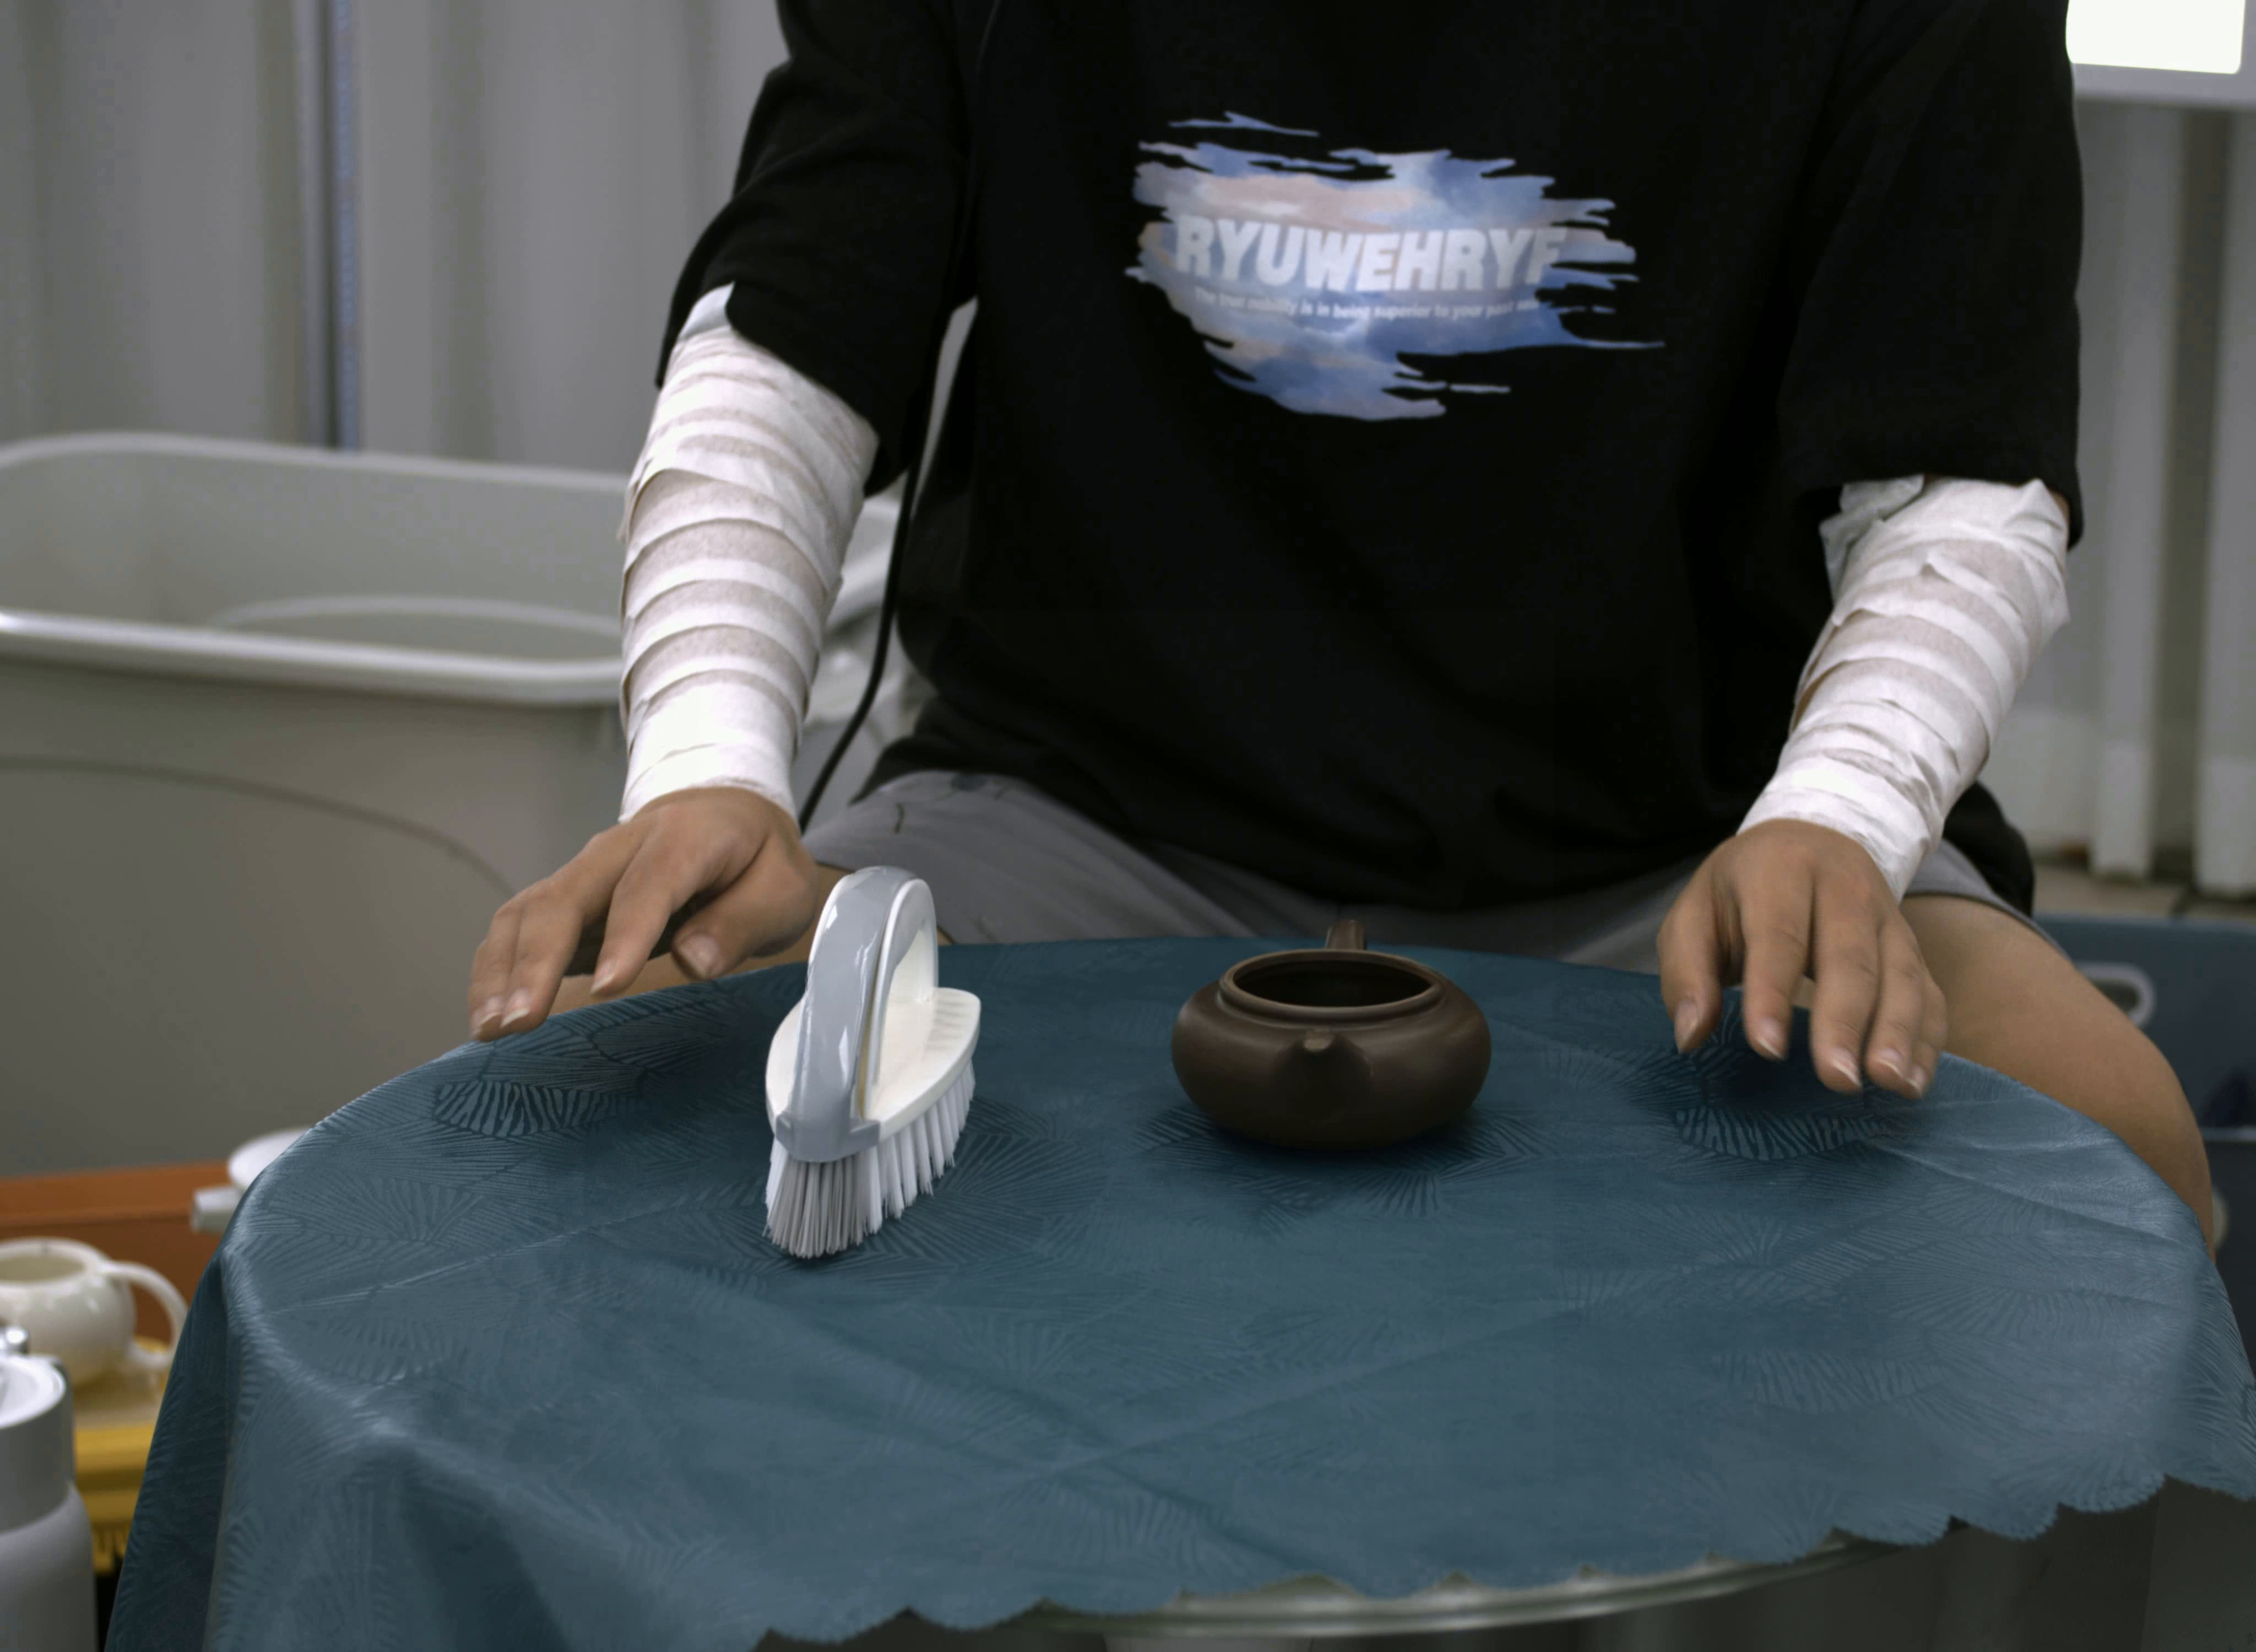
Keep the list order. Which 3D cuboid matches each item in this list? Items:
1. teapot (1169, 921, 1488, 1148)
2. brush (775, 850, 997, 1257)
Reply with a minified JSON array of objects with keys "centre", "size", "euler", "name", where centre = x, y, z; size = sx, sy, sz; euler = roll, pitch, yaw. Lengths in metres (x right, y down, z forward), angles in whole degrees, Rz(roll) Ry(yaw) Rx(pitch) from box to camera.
[{"centre":[0.064,0.068,1.686],"size":[0.102,0.054,0.152],"euler":[2,15,-1],"name":"teapot"},{"centre":[-0.081,0.064,1.623],"size":[0.061,0.095,0.175],"euler":[-1,17,8],"name":"brush"}]
